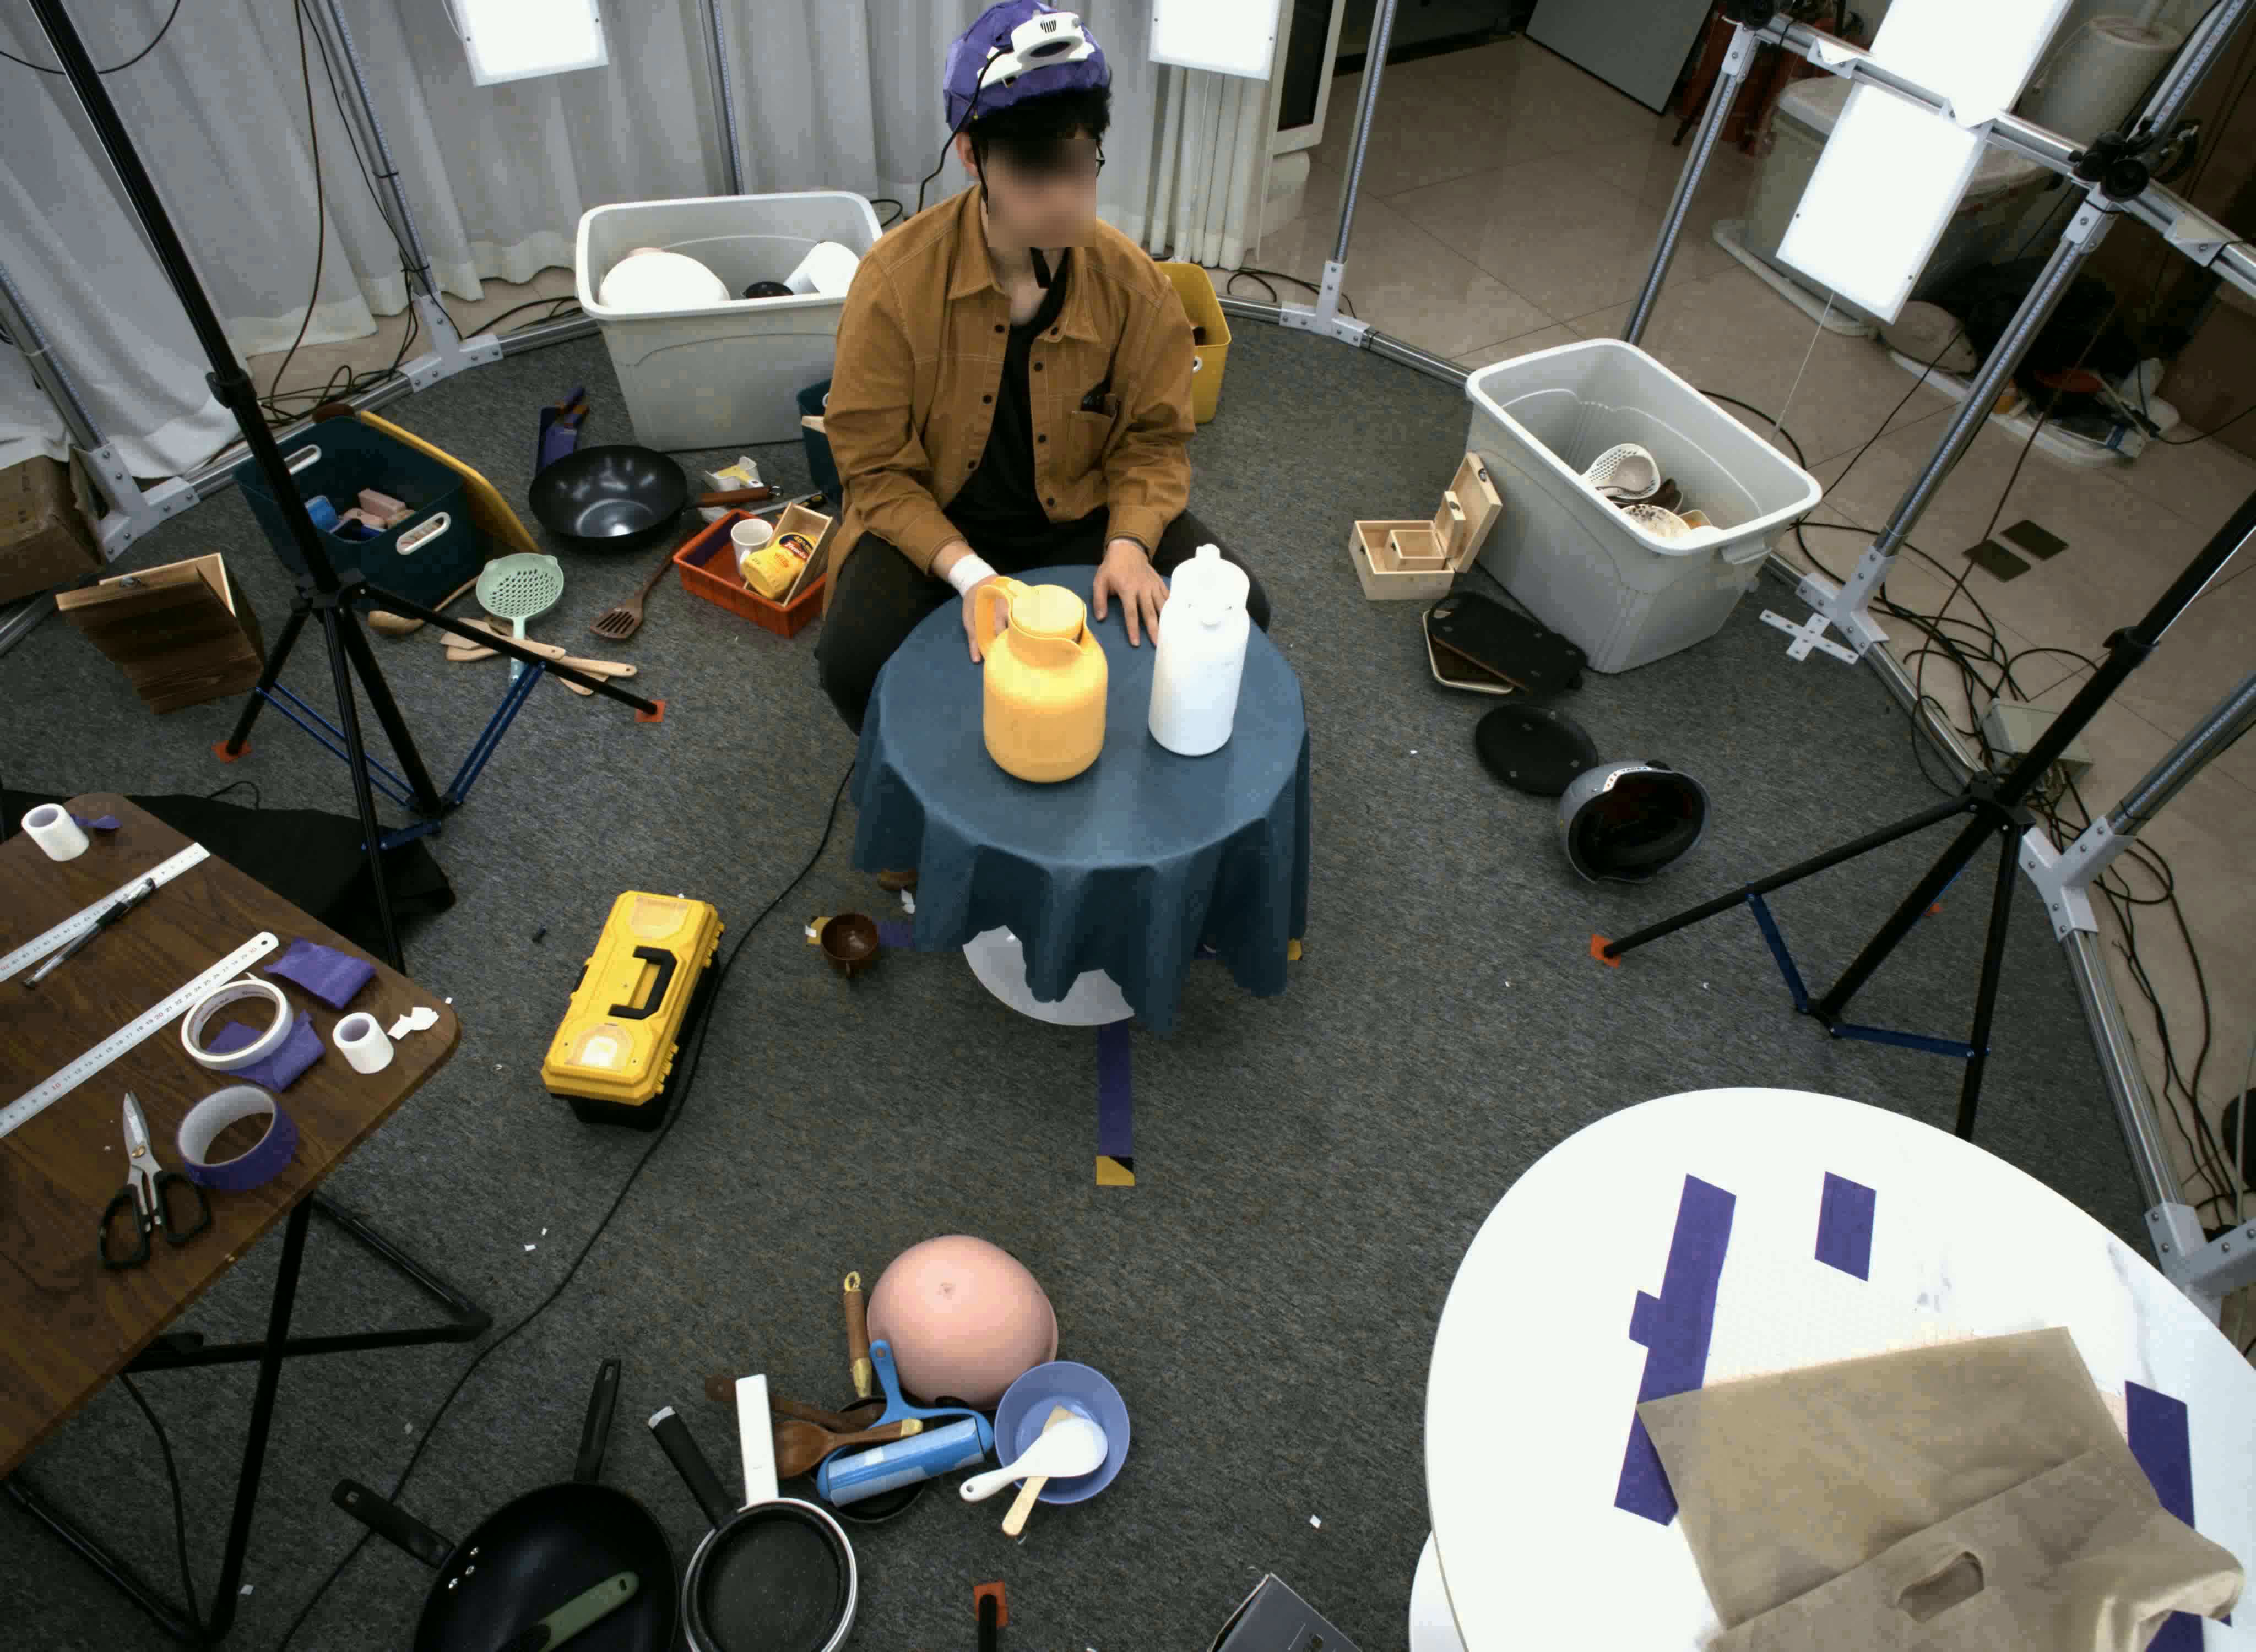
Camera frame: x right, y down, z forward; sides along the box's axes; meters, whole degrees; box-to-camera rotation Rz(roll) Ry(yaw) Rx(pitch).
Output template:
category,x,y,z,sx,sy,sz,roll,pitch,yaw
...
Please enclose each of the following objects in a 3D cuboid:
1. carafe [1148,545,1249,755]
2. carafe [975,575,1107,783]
category,x,y,z,sx,sy,sz,roll,pitch,yaw
carafe,0.092,-0.235,1.706,0.124,0.262,0.177,2,49,0
carafe,-0.121,-0.199,1.666,0.165,0.254,0.205,-33,60,-31
